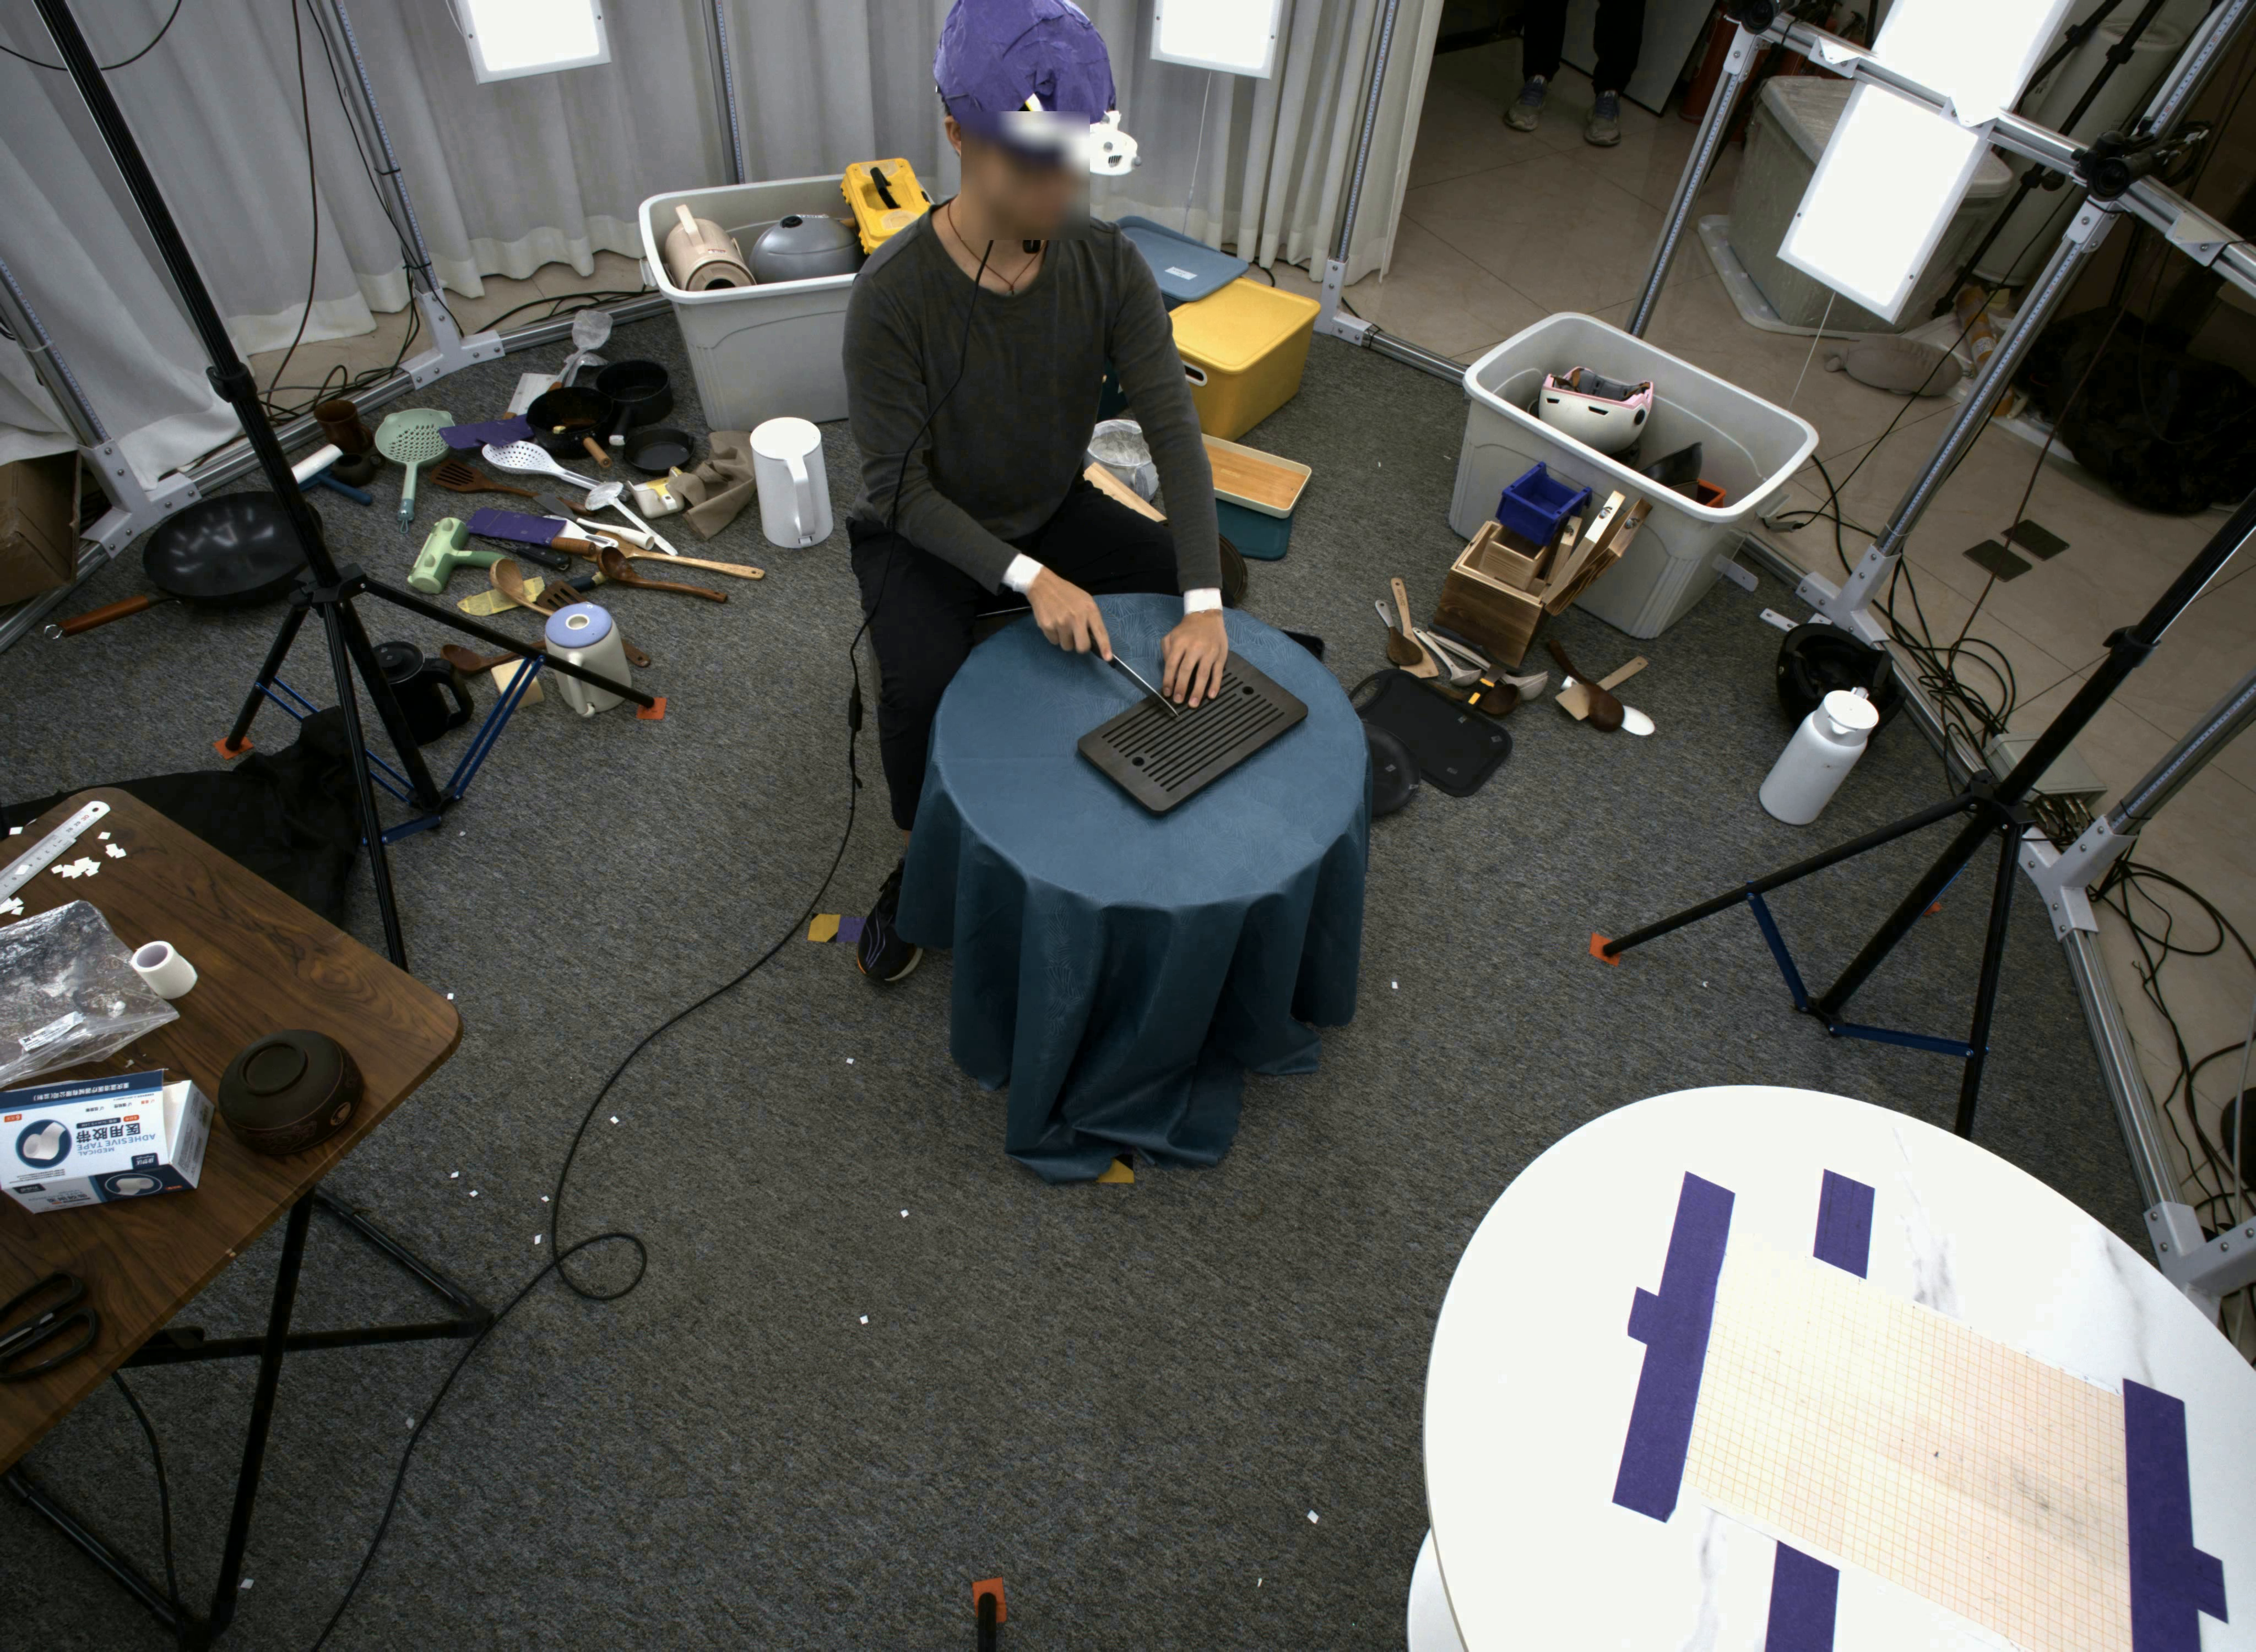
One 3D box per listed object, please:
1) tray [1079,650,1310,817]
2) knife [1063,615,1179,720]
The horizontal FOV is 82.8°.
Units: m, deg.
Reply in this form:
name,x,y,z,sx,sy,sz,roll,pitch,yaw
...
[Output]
name,x,y,z,sx,sy,sz,roll,pitch,yaw
tray,0.094,-0.132,1.777,0.308,0.018,0.173,-34,58,-29
knife,-0.009,-0.227,1.819,0.016,0.024,0.241,-29,62,-37
